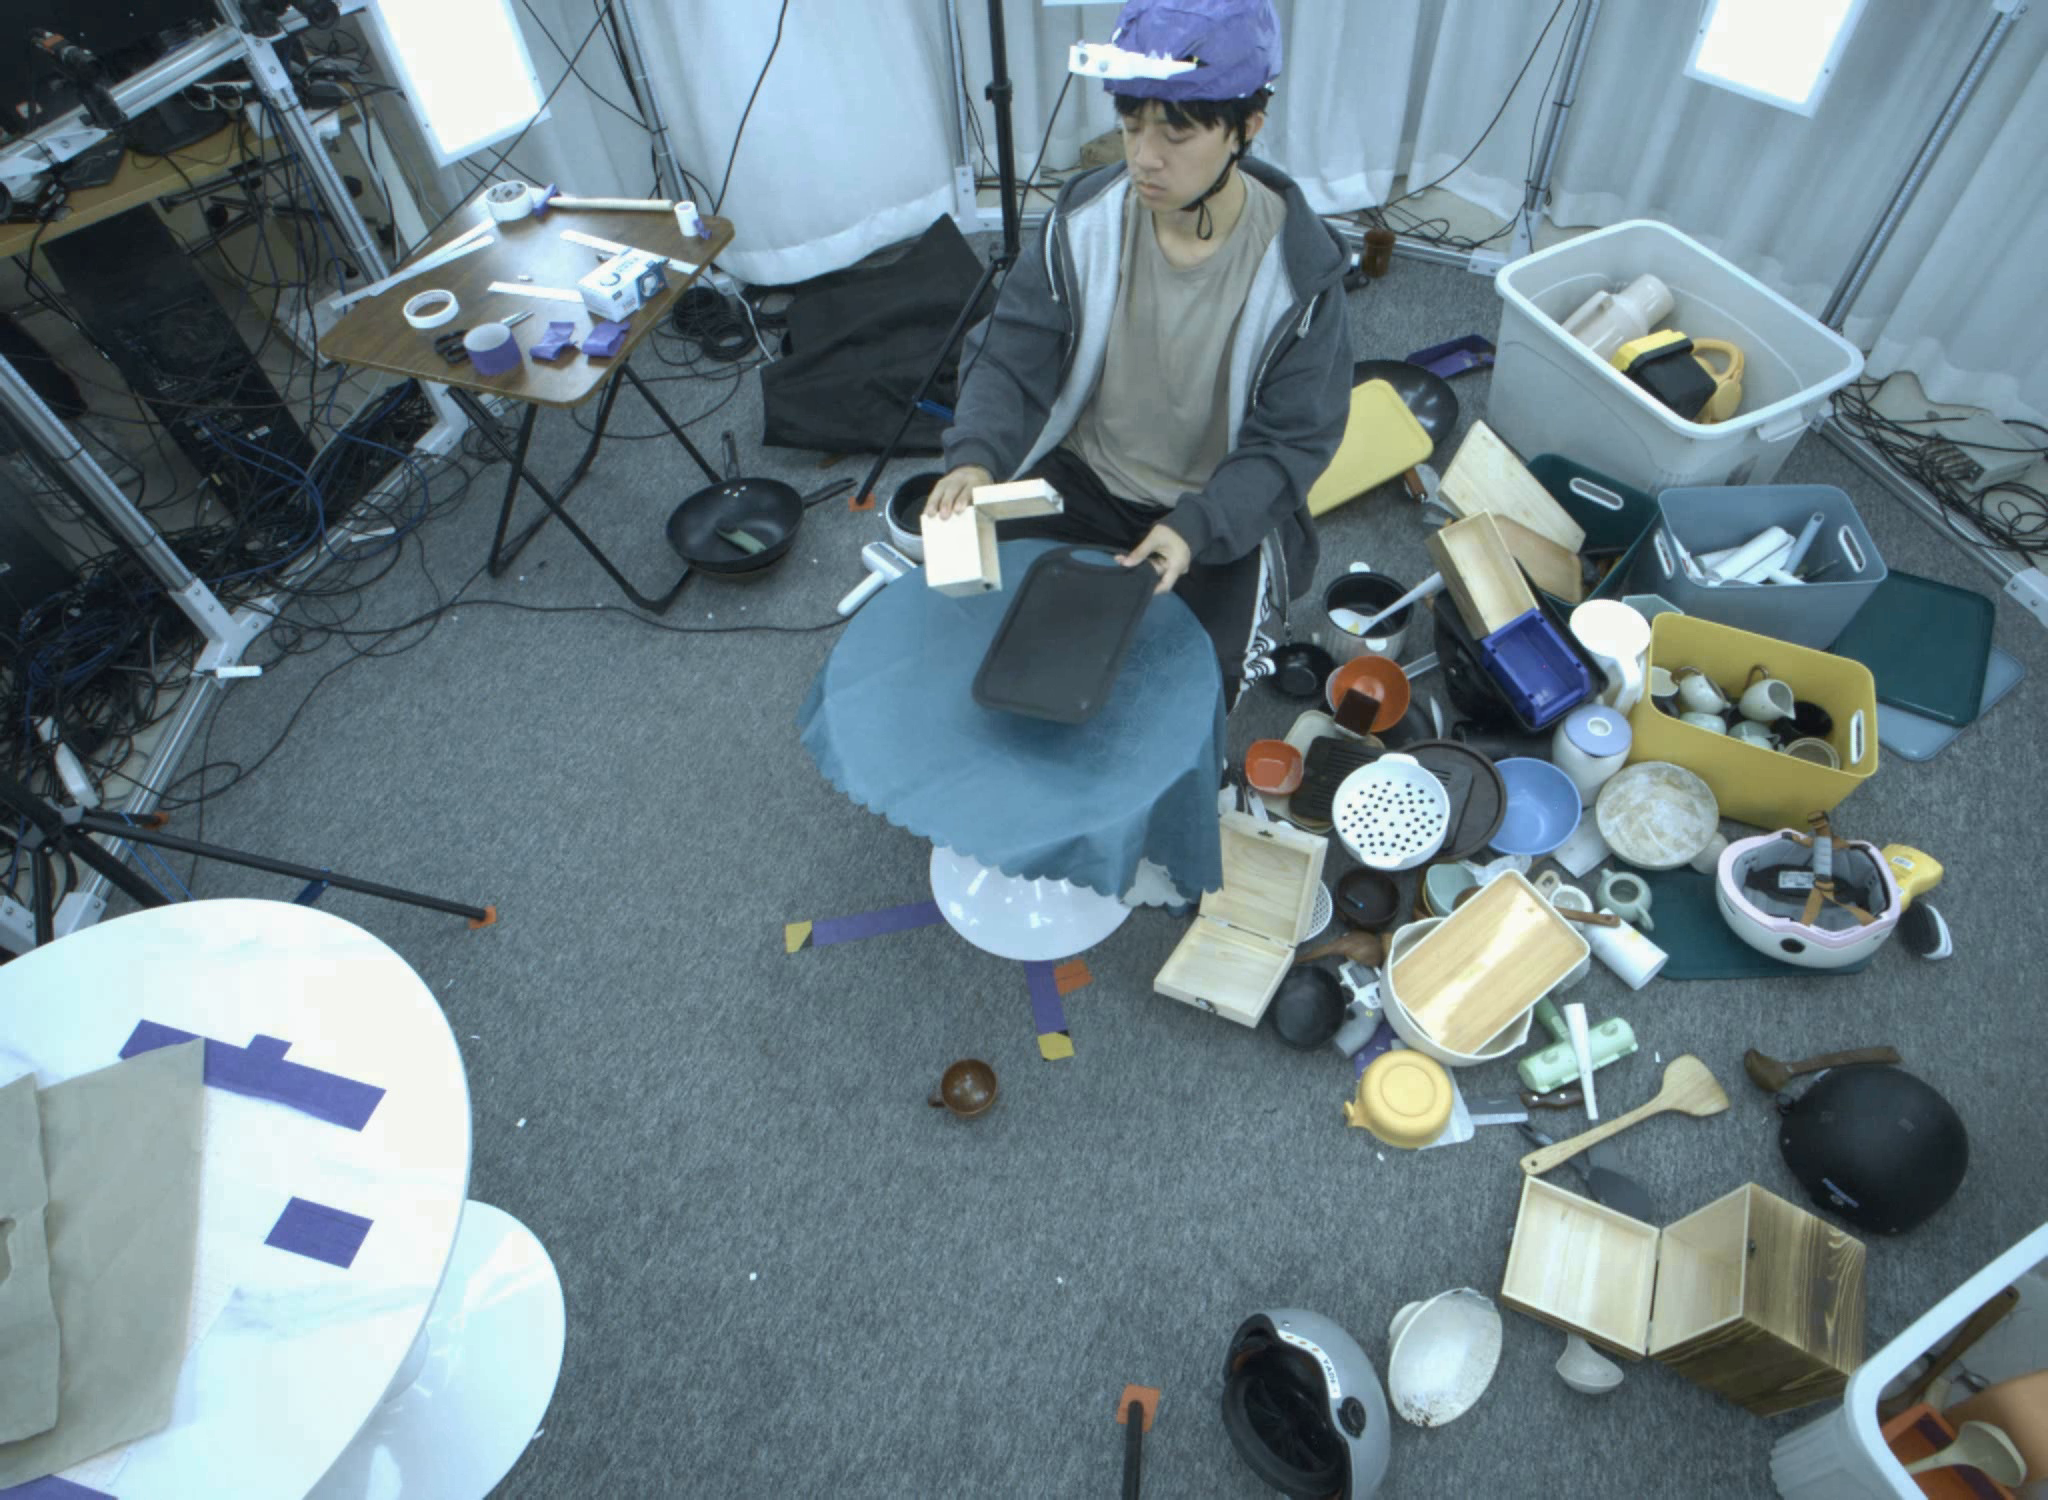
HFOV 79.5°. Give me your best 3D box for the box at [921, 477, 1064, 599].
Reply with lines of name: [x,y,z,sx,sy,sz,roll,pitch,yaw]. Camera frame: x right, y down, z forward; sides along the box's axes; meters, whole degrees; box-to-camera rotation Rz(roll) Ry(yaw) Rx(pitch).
box: [-0.038,-0.292,1.710,0.183,0.104,0.133,-9,87,15]

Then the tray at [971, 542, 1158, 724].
tray: [0.062,-0.182,1.797,0.207,0.010,0.325,13,62,23]
